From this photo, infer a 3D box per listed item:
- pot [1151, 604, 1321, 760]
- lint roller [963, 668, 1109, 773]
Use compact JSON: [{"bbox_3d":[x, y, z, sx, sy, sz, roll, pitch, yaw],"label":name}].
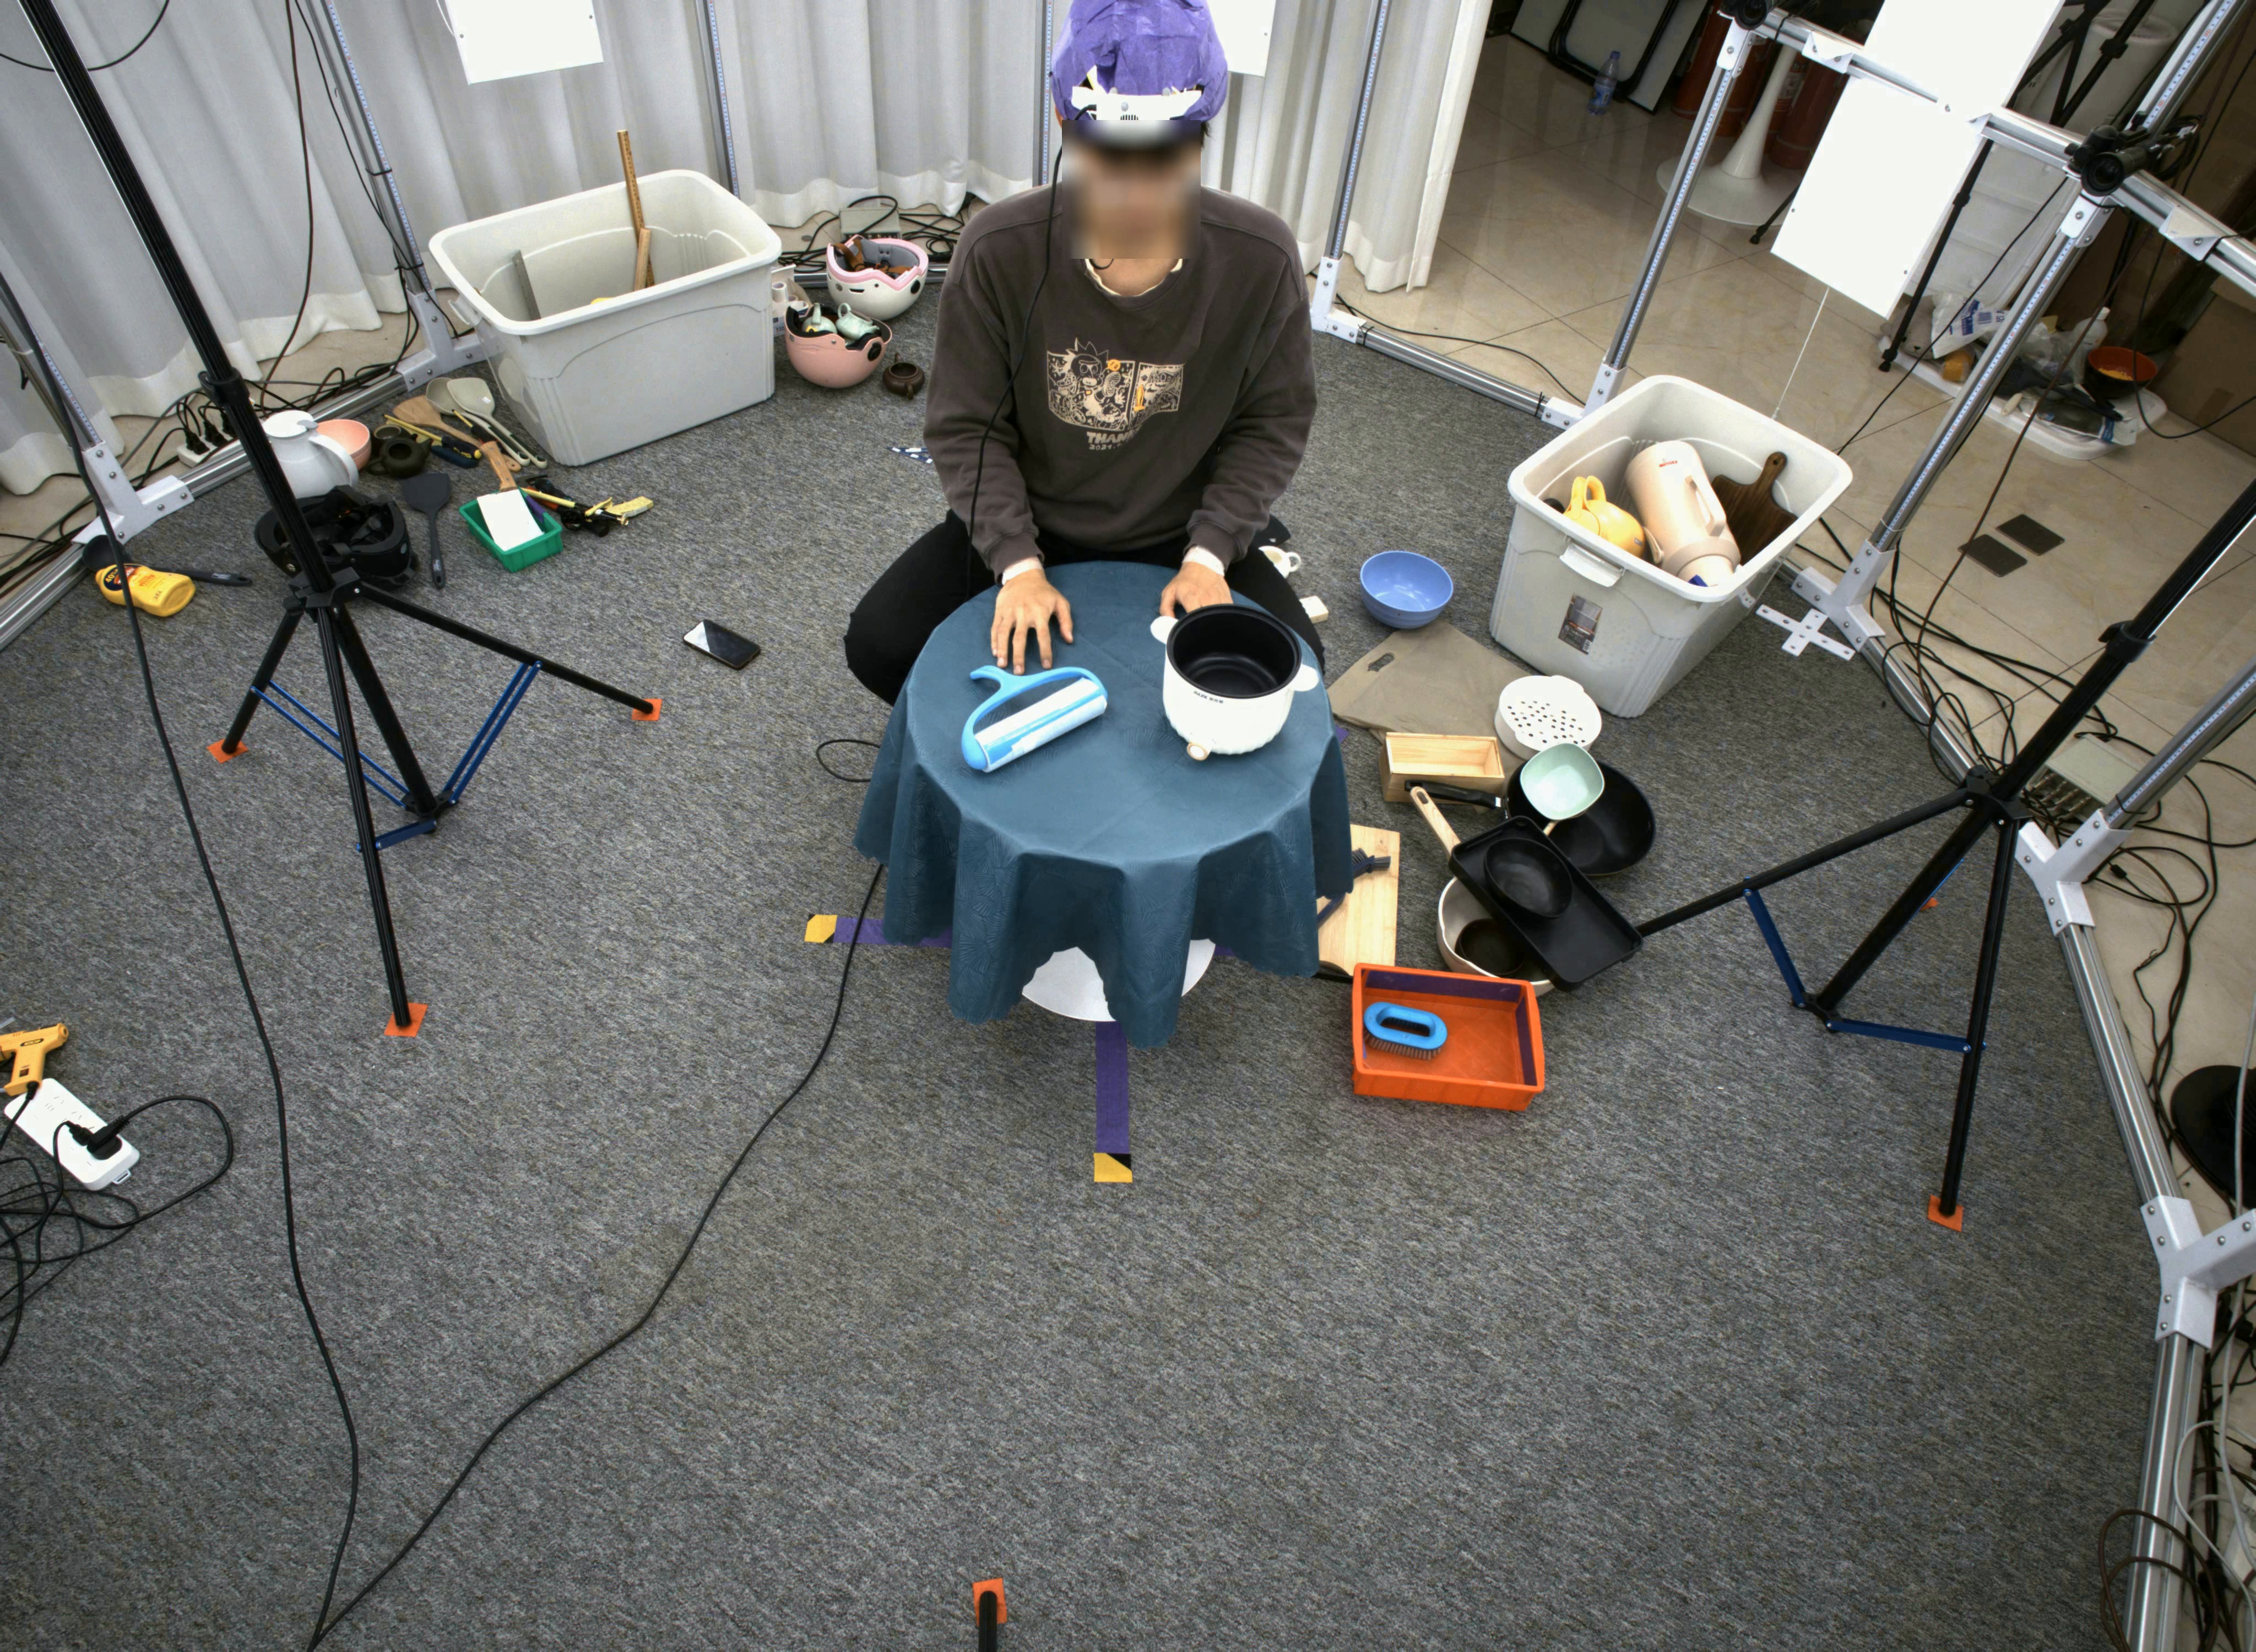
[{"bbox_3d":[0.137,-0.190,1.749,0.242,0.139,0.194,20,48,15],"label":"pot"},{"bbox_3d":[-0.159,-0.175,1.771,0.230,0.066,0.183,-32,59,-26],"label":"lint roller"}]
